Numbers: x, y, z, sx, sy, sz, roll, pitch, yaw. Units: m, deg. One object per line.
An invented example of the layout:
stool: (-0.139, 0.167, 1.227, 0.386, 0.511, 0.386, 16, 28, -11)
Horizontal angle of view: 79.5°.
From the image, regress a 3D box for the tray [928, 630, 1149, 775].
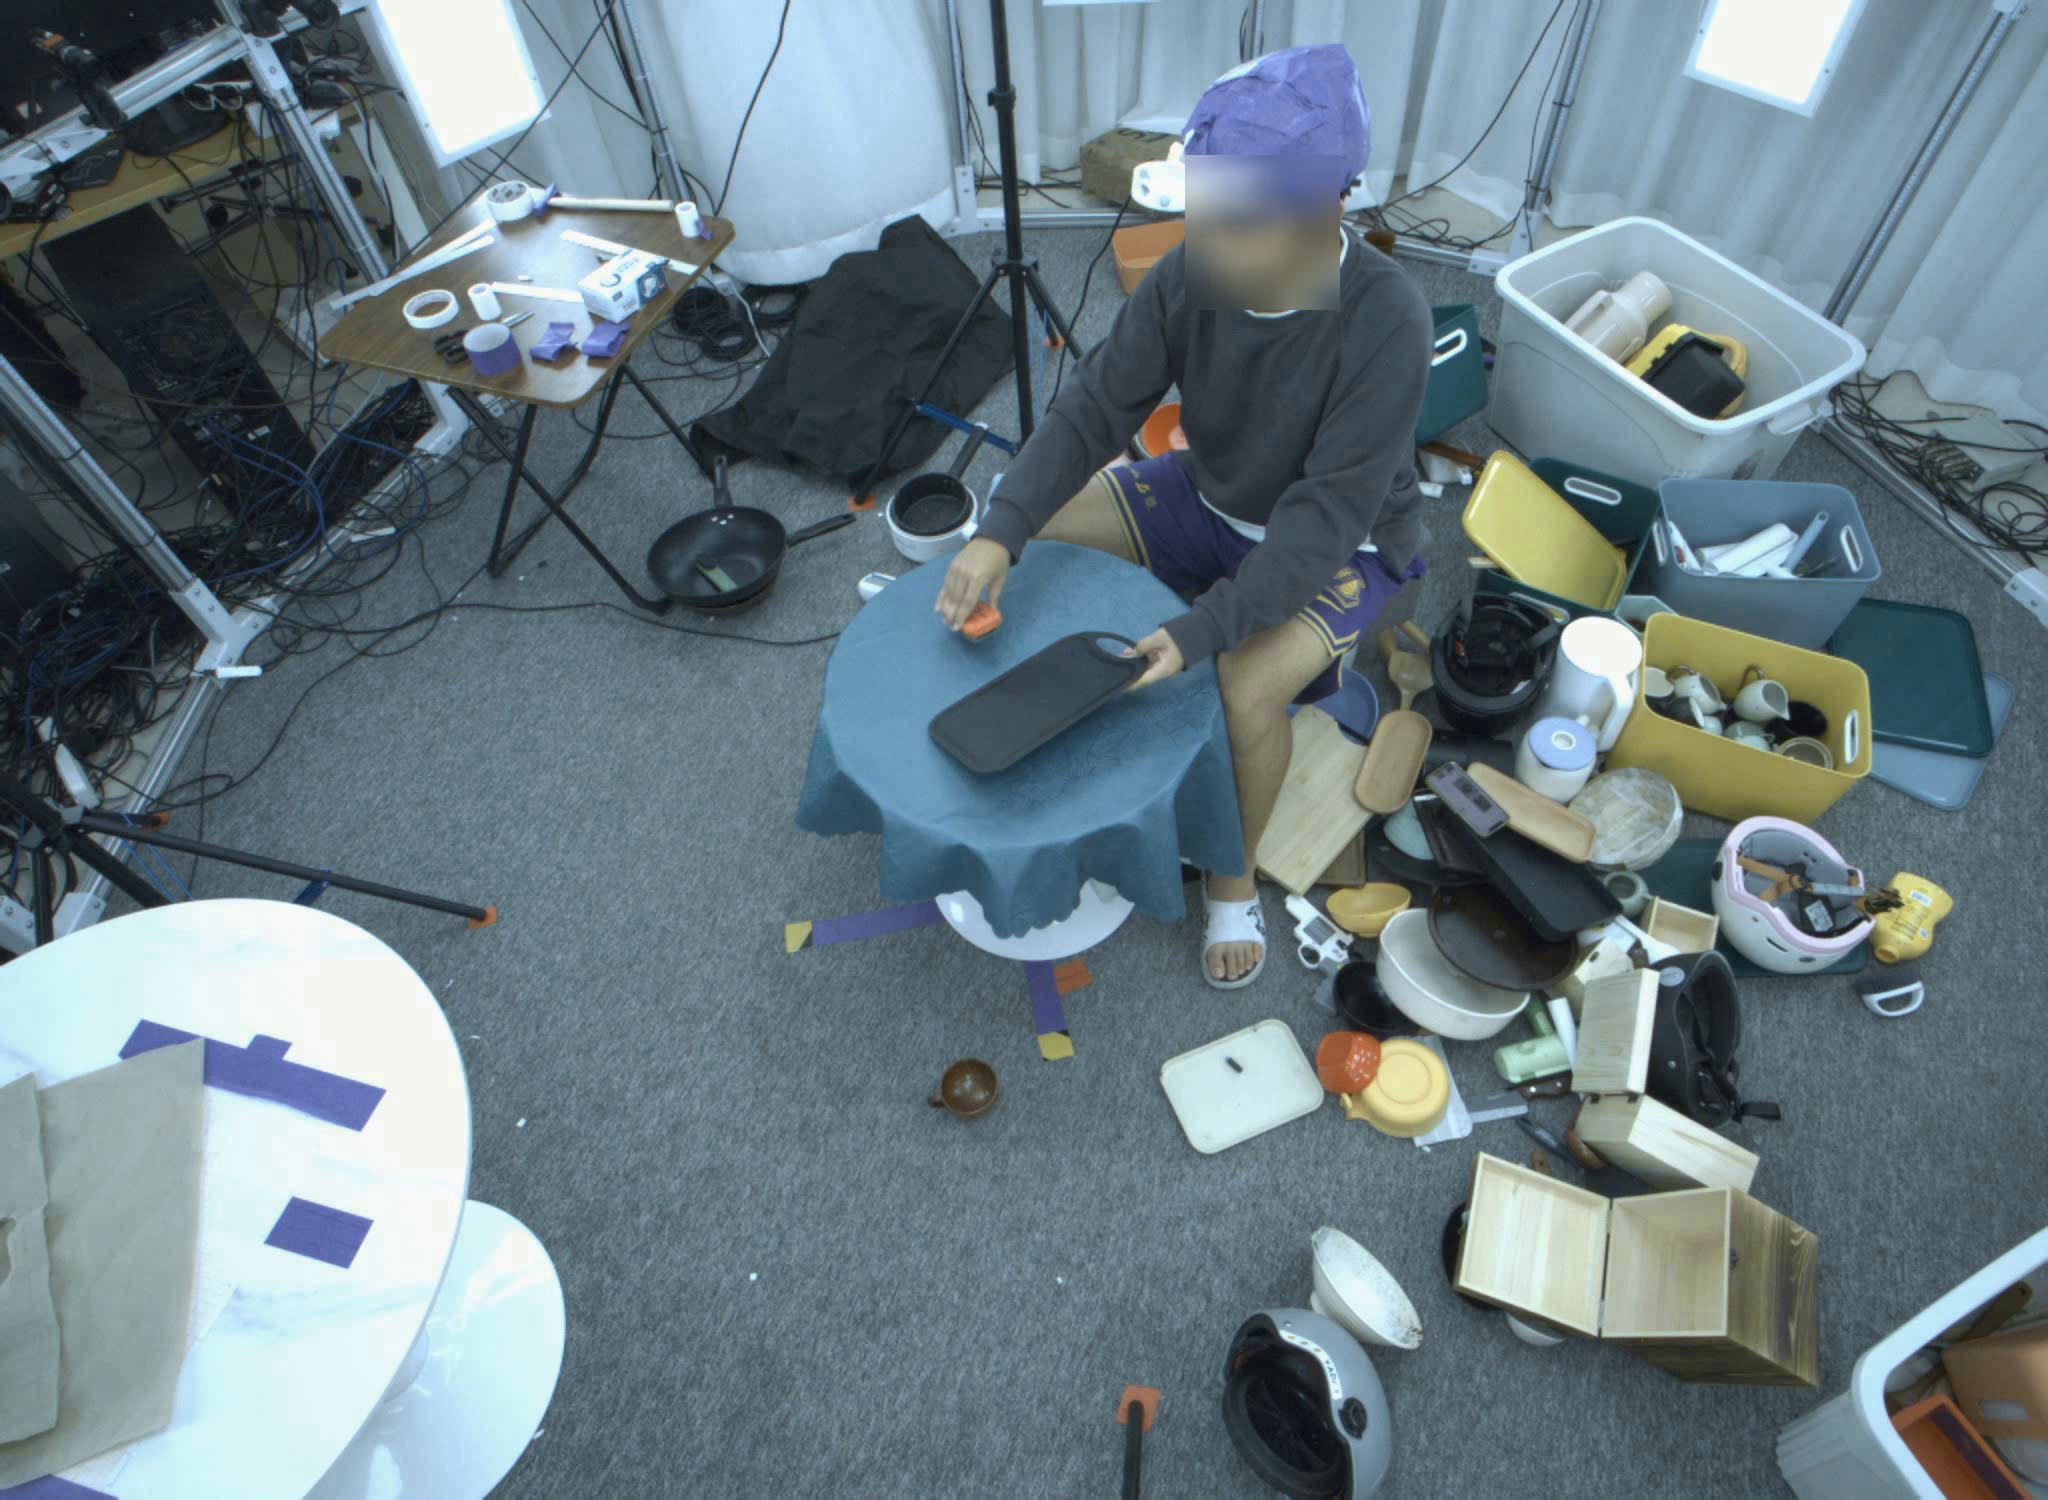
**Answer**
tray: (0.025, -0.081, 1.791, 0.327, 0.010, 0.206, -32, 38, -16)

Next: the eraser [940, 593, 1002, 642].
eraser: (-0.083, -0.205, 1.883, 0.059, 0.023, 0.105, -29, 40, -17)
